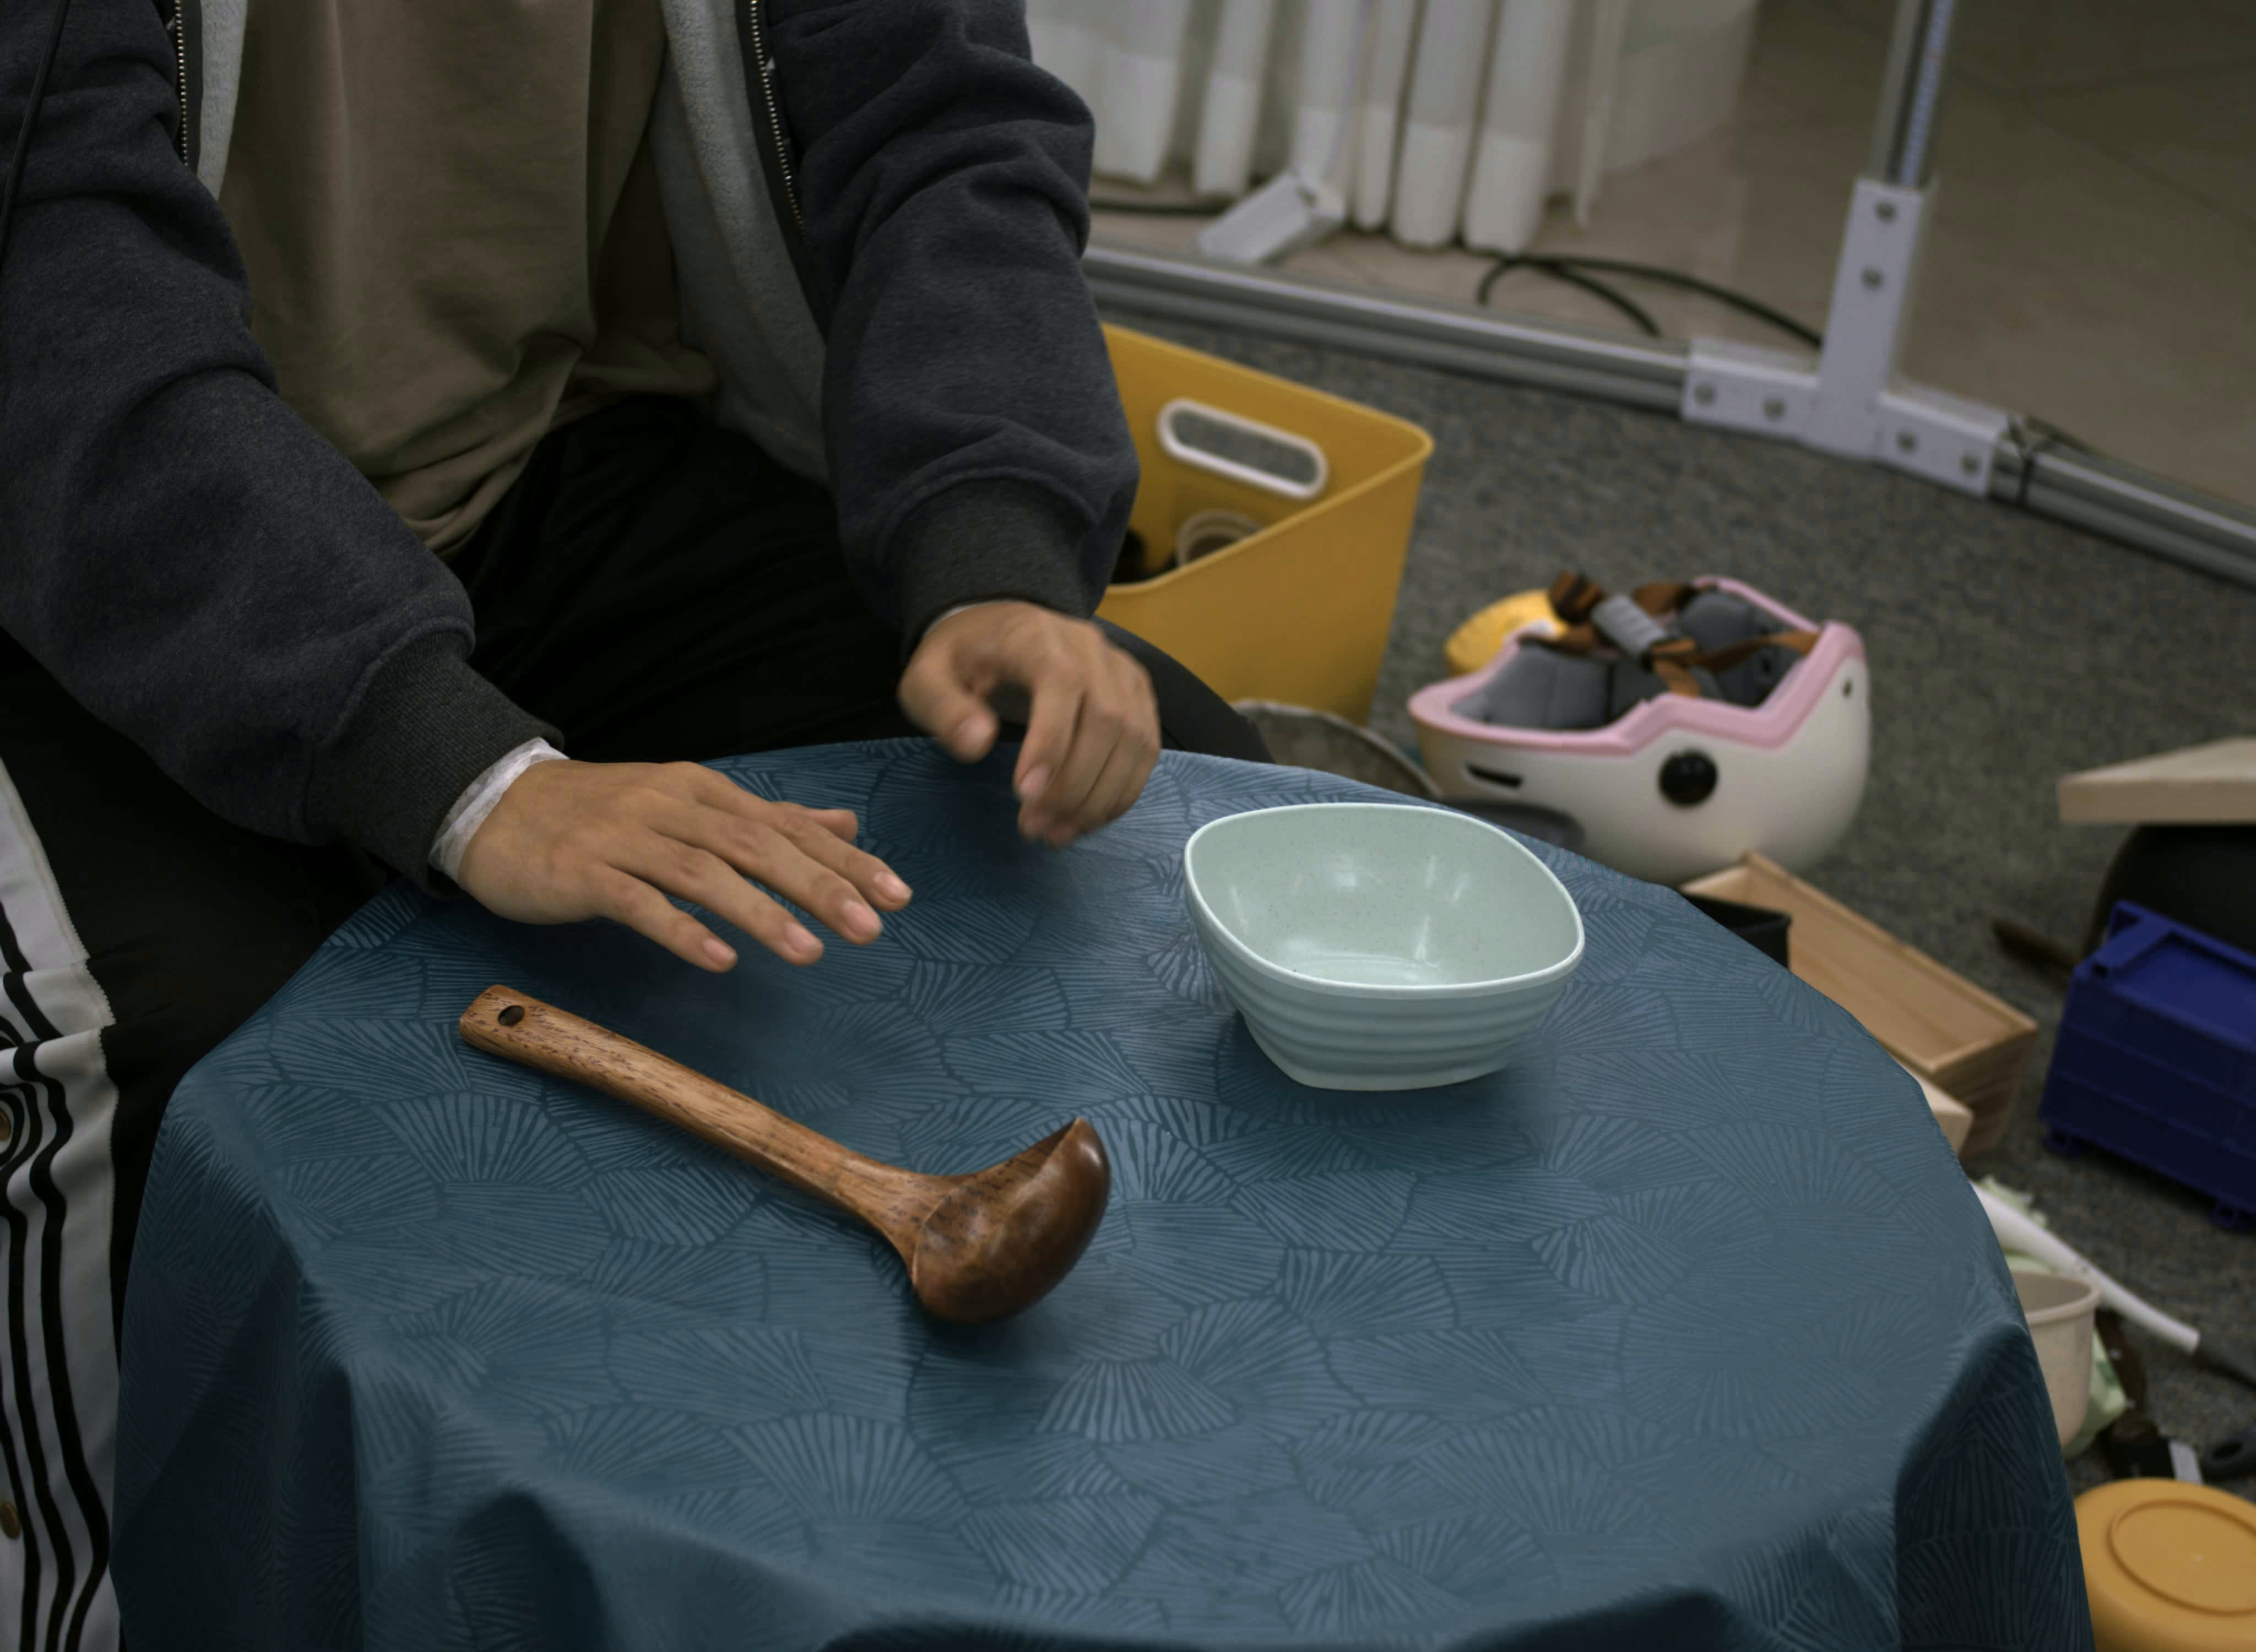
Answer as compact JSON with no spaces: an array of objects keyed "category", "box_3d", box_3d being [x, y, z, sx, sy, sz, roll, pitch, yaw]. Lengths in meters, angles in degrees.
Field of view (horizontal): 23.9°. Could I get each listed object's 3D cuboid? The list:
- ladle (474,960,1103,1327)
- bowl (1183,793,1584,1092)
[{"category":"ladle","box_3d":[-0.124,0.089,1.759,0.276,0.076,0.082,26,59,30]},{"category":"bowl","box_3d":[0.088,0.048,1.906,0.151,0.058,0.152,6,30,-3]}]
